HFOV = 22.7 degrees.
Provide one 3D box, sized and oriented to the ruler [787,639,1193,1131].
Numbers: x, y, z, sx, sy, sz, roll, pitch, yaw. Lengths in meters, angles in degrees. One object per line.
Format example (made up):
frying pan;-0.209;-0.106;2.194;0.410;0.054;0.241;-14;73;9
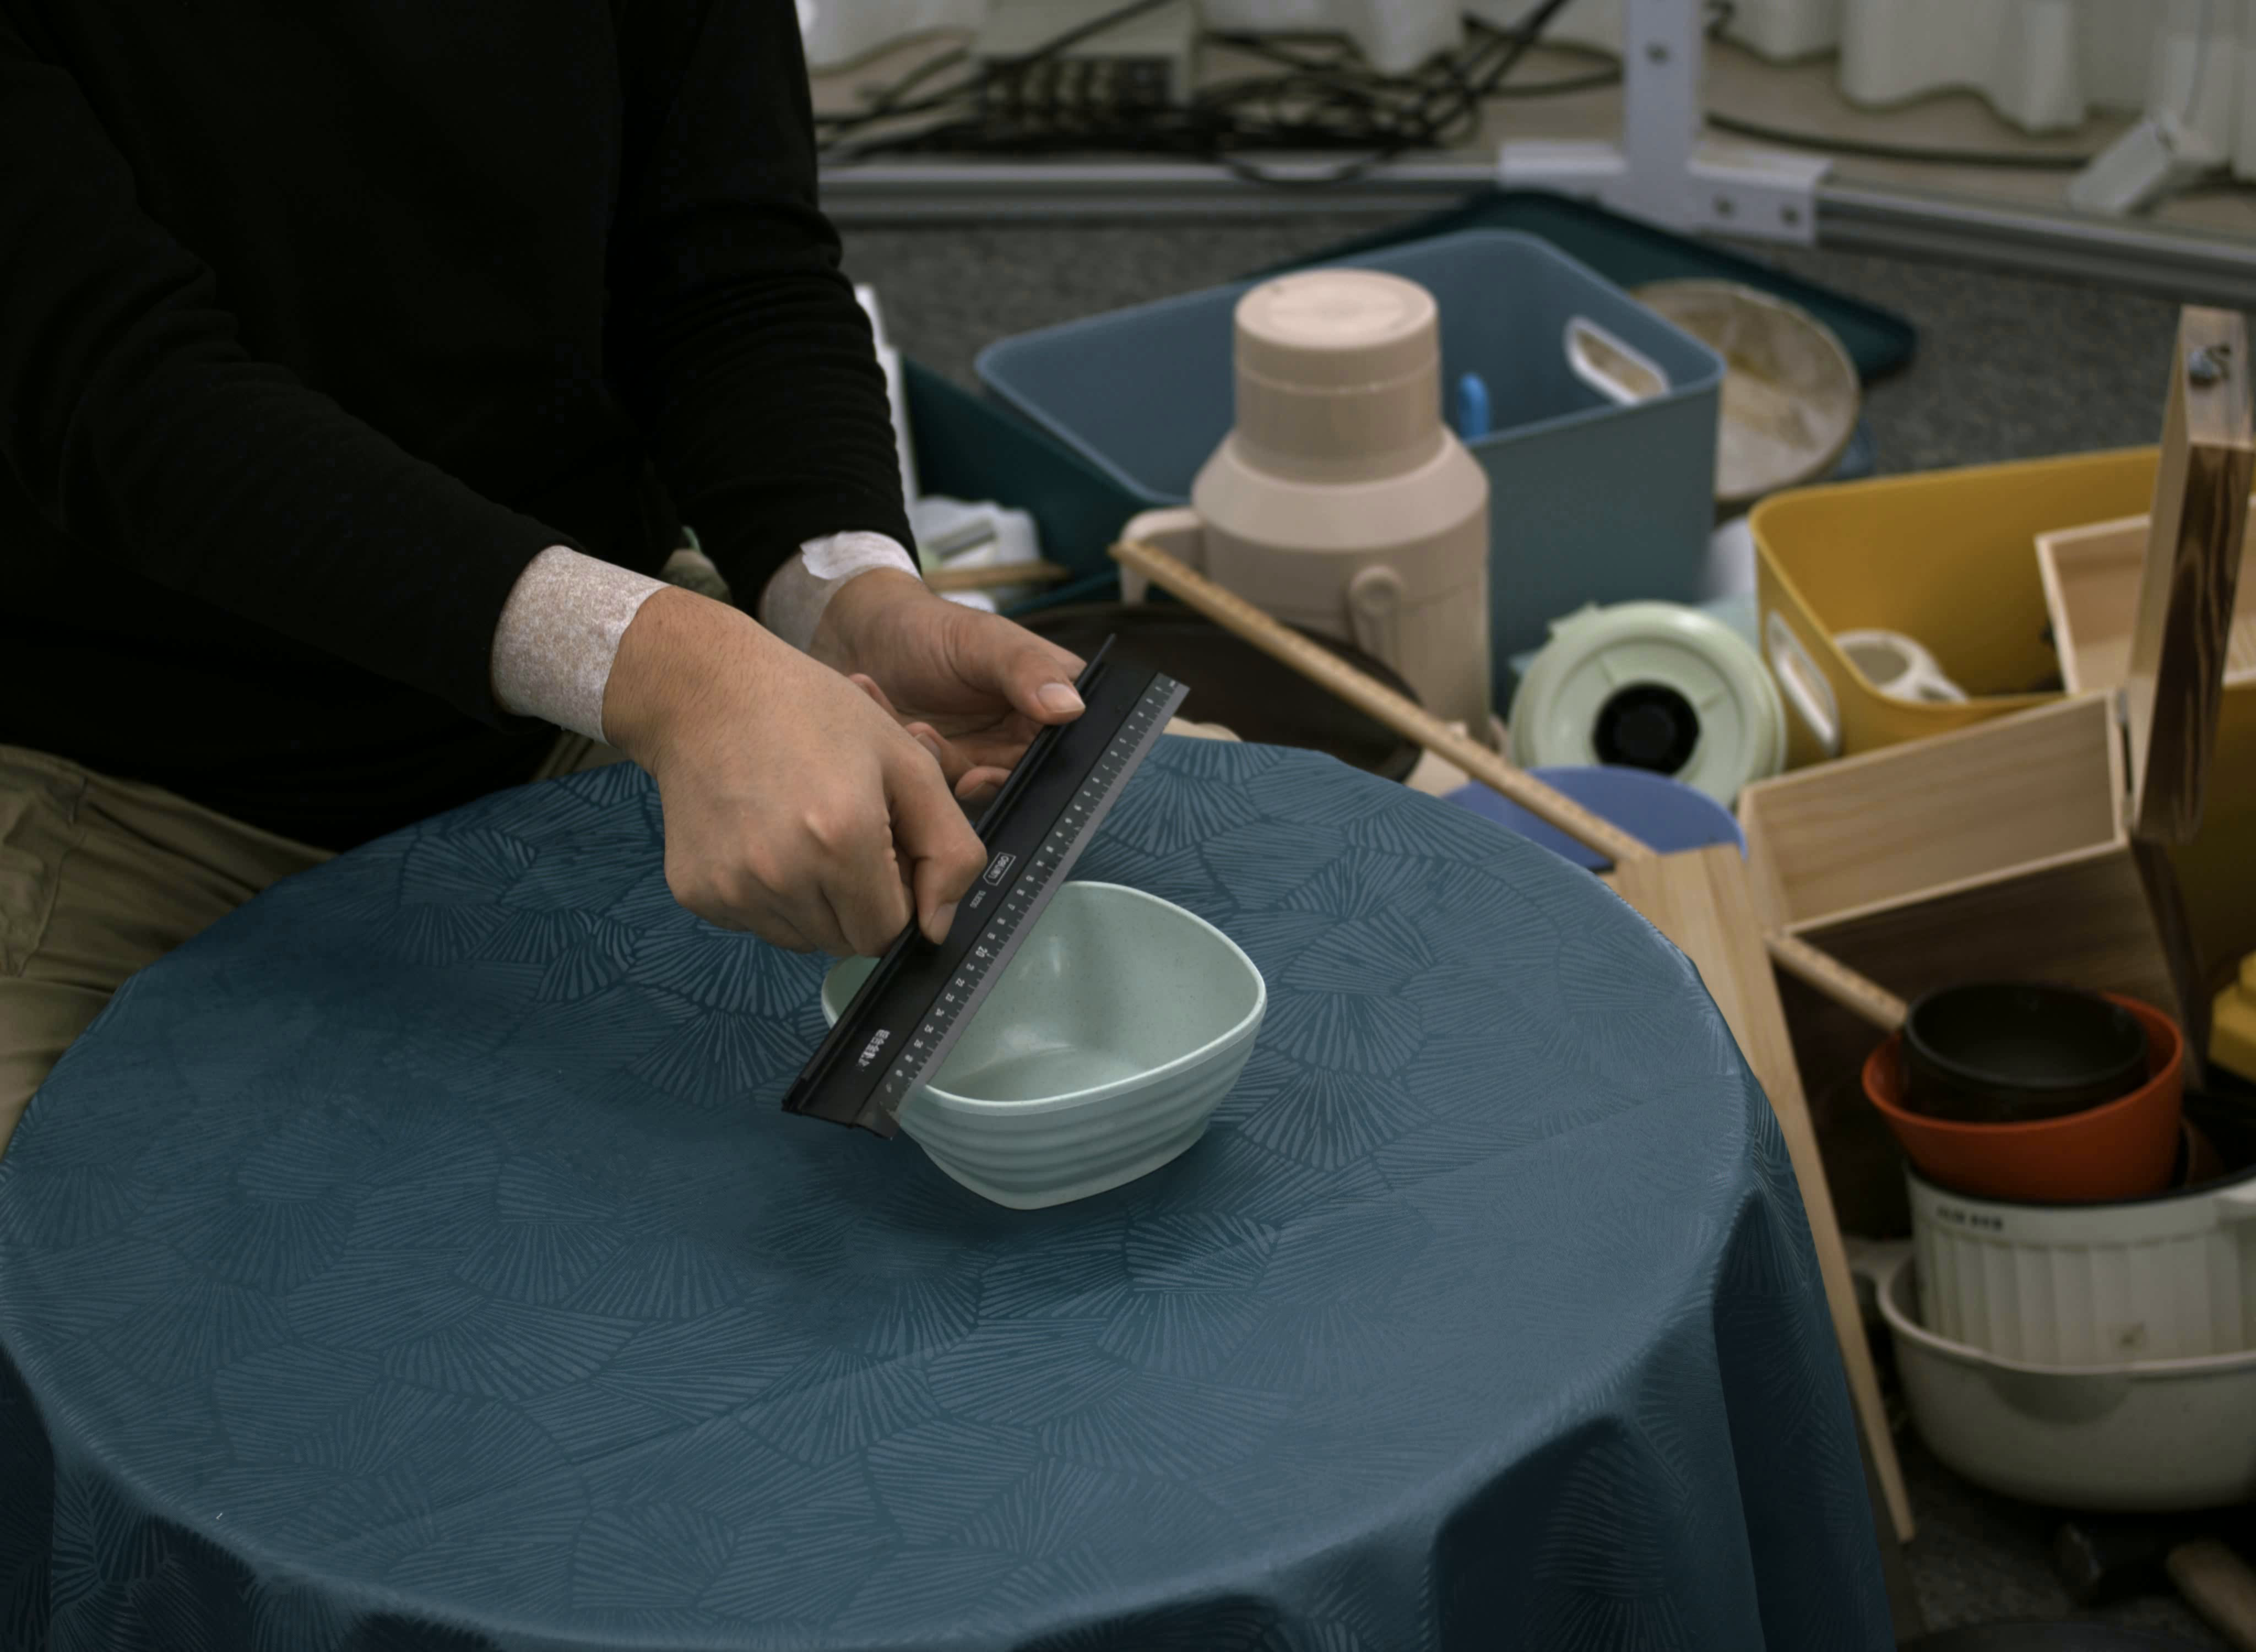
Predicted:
ruler;-0.042;0.014;1.916;0.039;0.017;0.318;17;33;11

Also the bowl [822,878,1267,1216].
bowl;-0.027;0.080;1.886;0.151;0.058;0.154;-2;29;2
